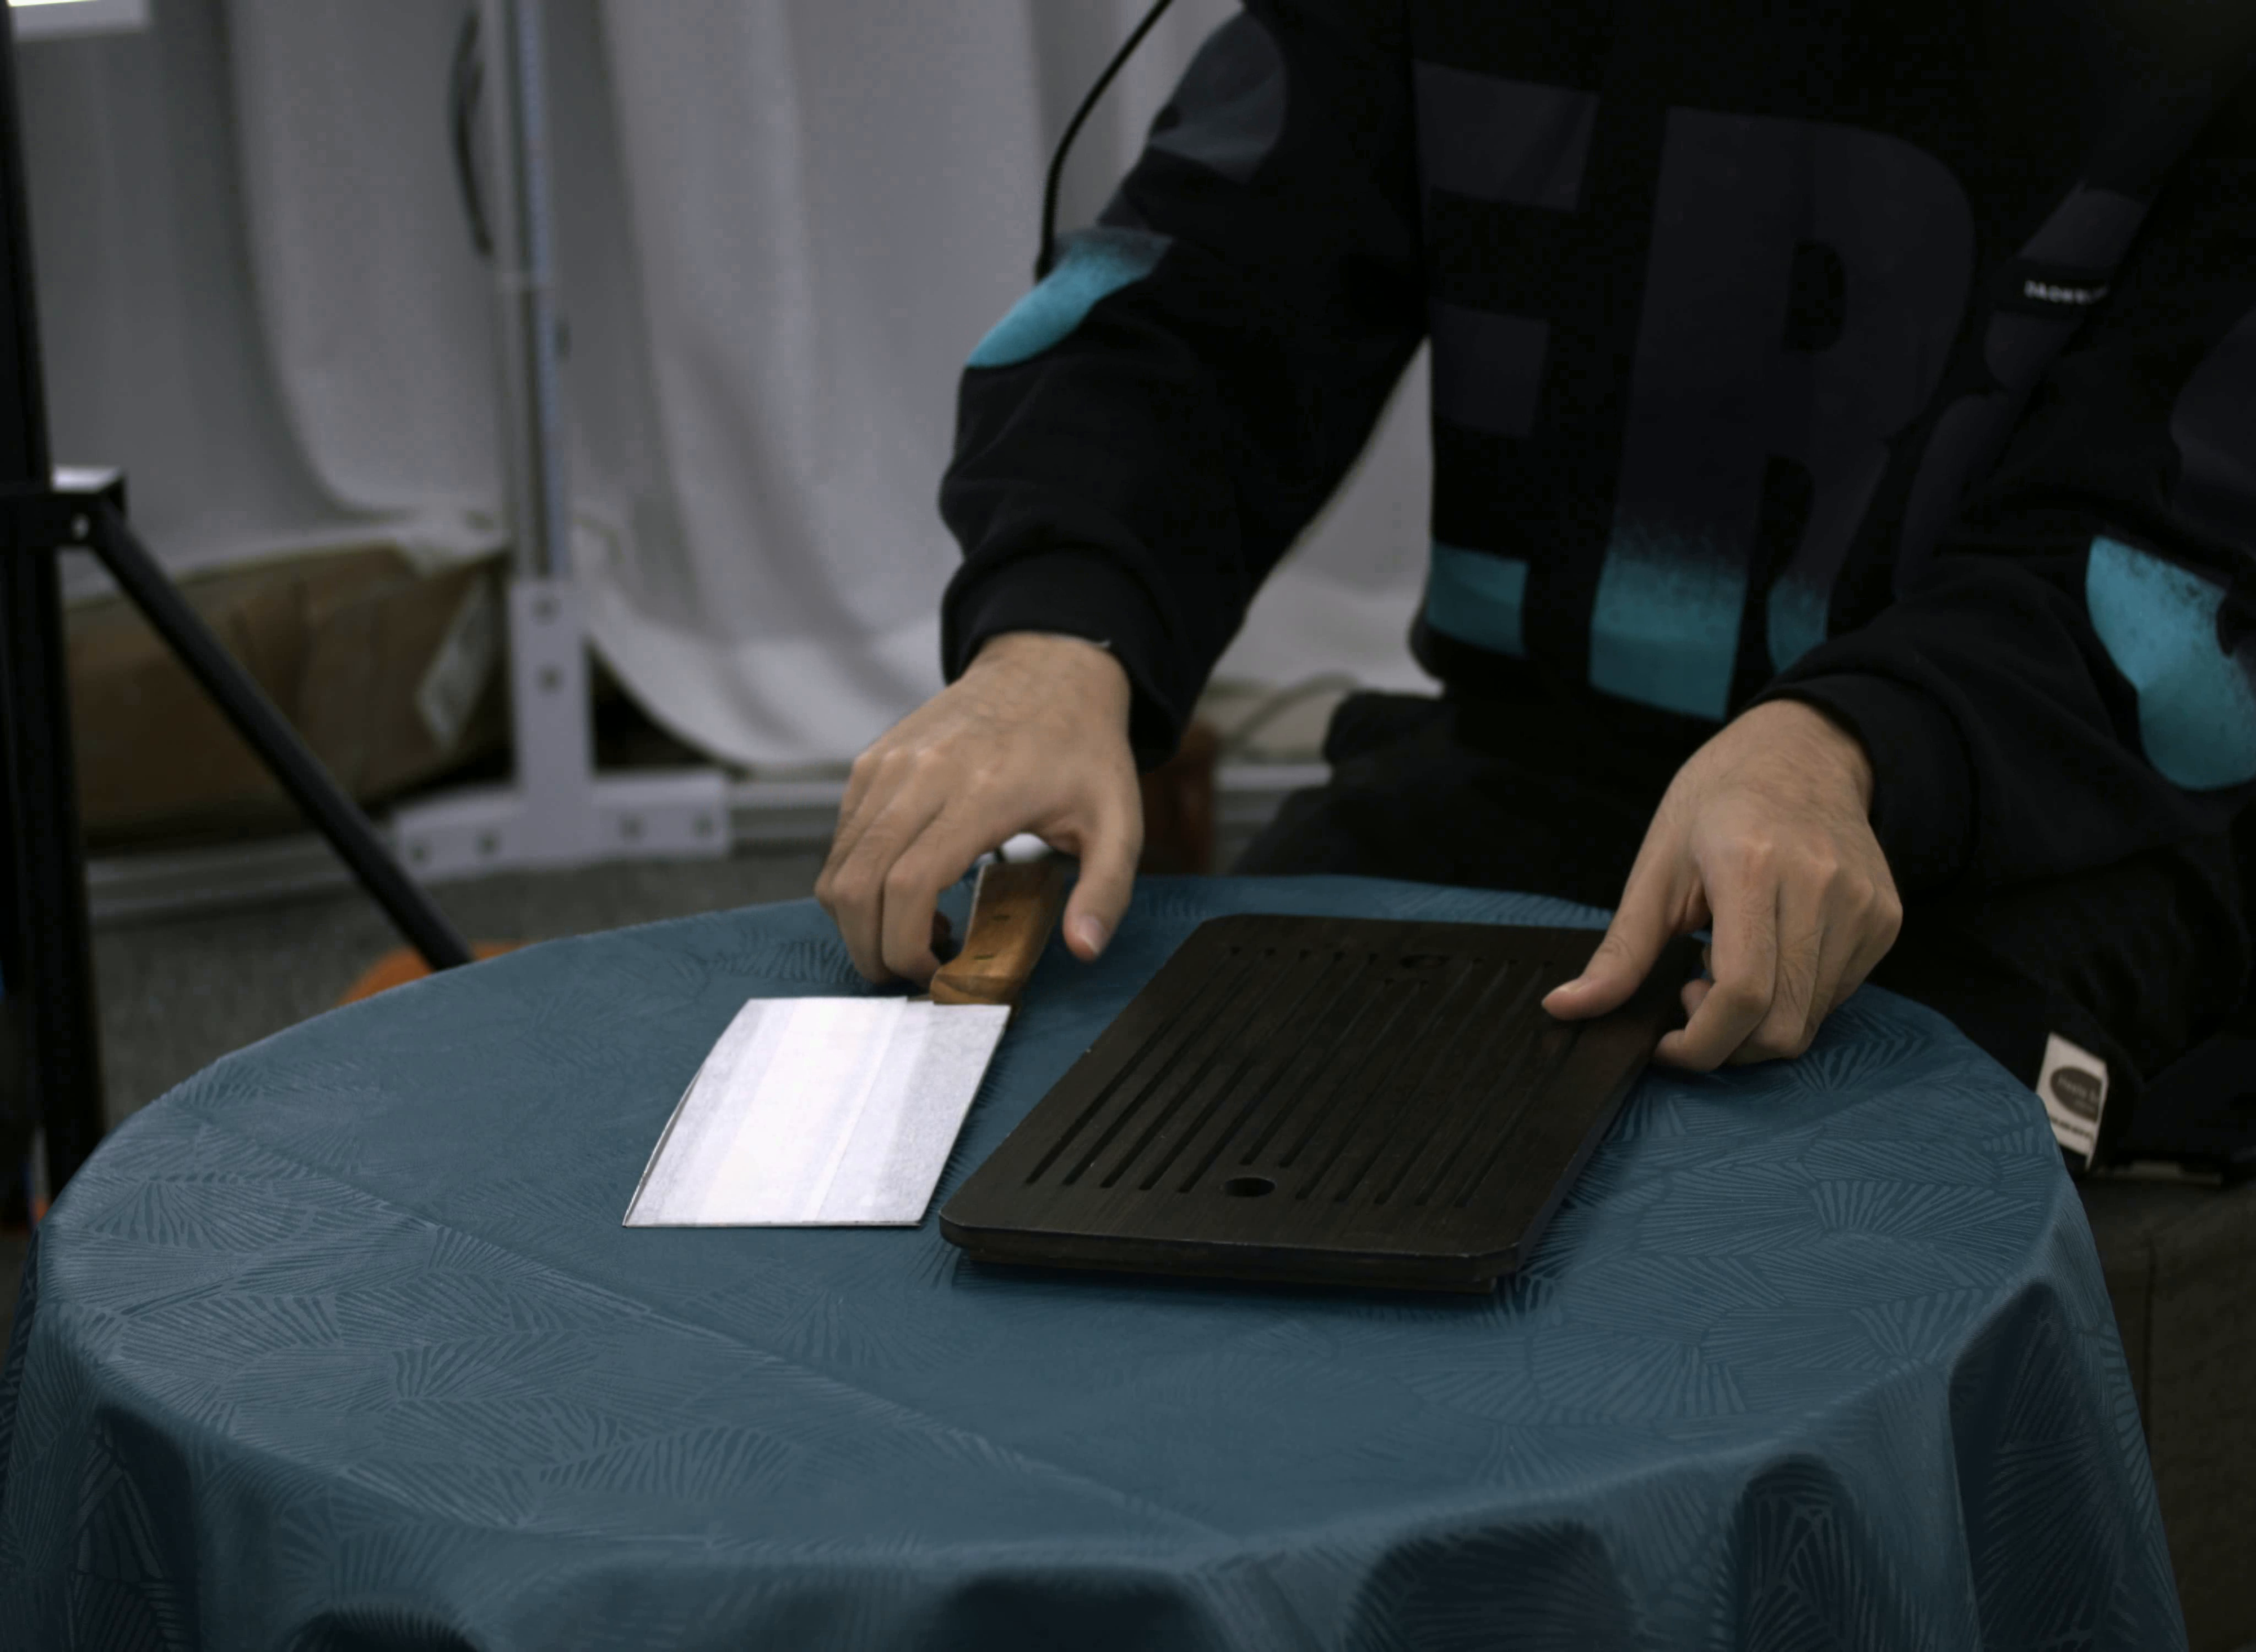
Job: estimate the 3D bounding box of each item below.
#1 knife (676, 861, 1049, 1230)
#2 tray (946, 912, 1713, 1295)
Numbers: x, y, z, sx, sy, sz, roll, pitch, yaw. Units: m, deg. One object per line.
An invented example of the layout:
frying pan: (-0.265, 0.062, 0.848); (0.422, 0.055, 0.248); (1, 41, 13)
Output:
knife: (-0.083, 0.068, 1.685); (0.093, 0.021, 0.305); (-2, 18, 9)
tray: (0.069, 0.081, 1.607); (0.172, 0.018, 0.303); (2, 17, 17)
